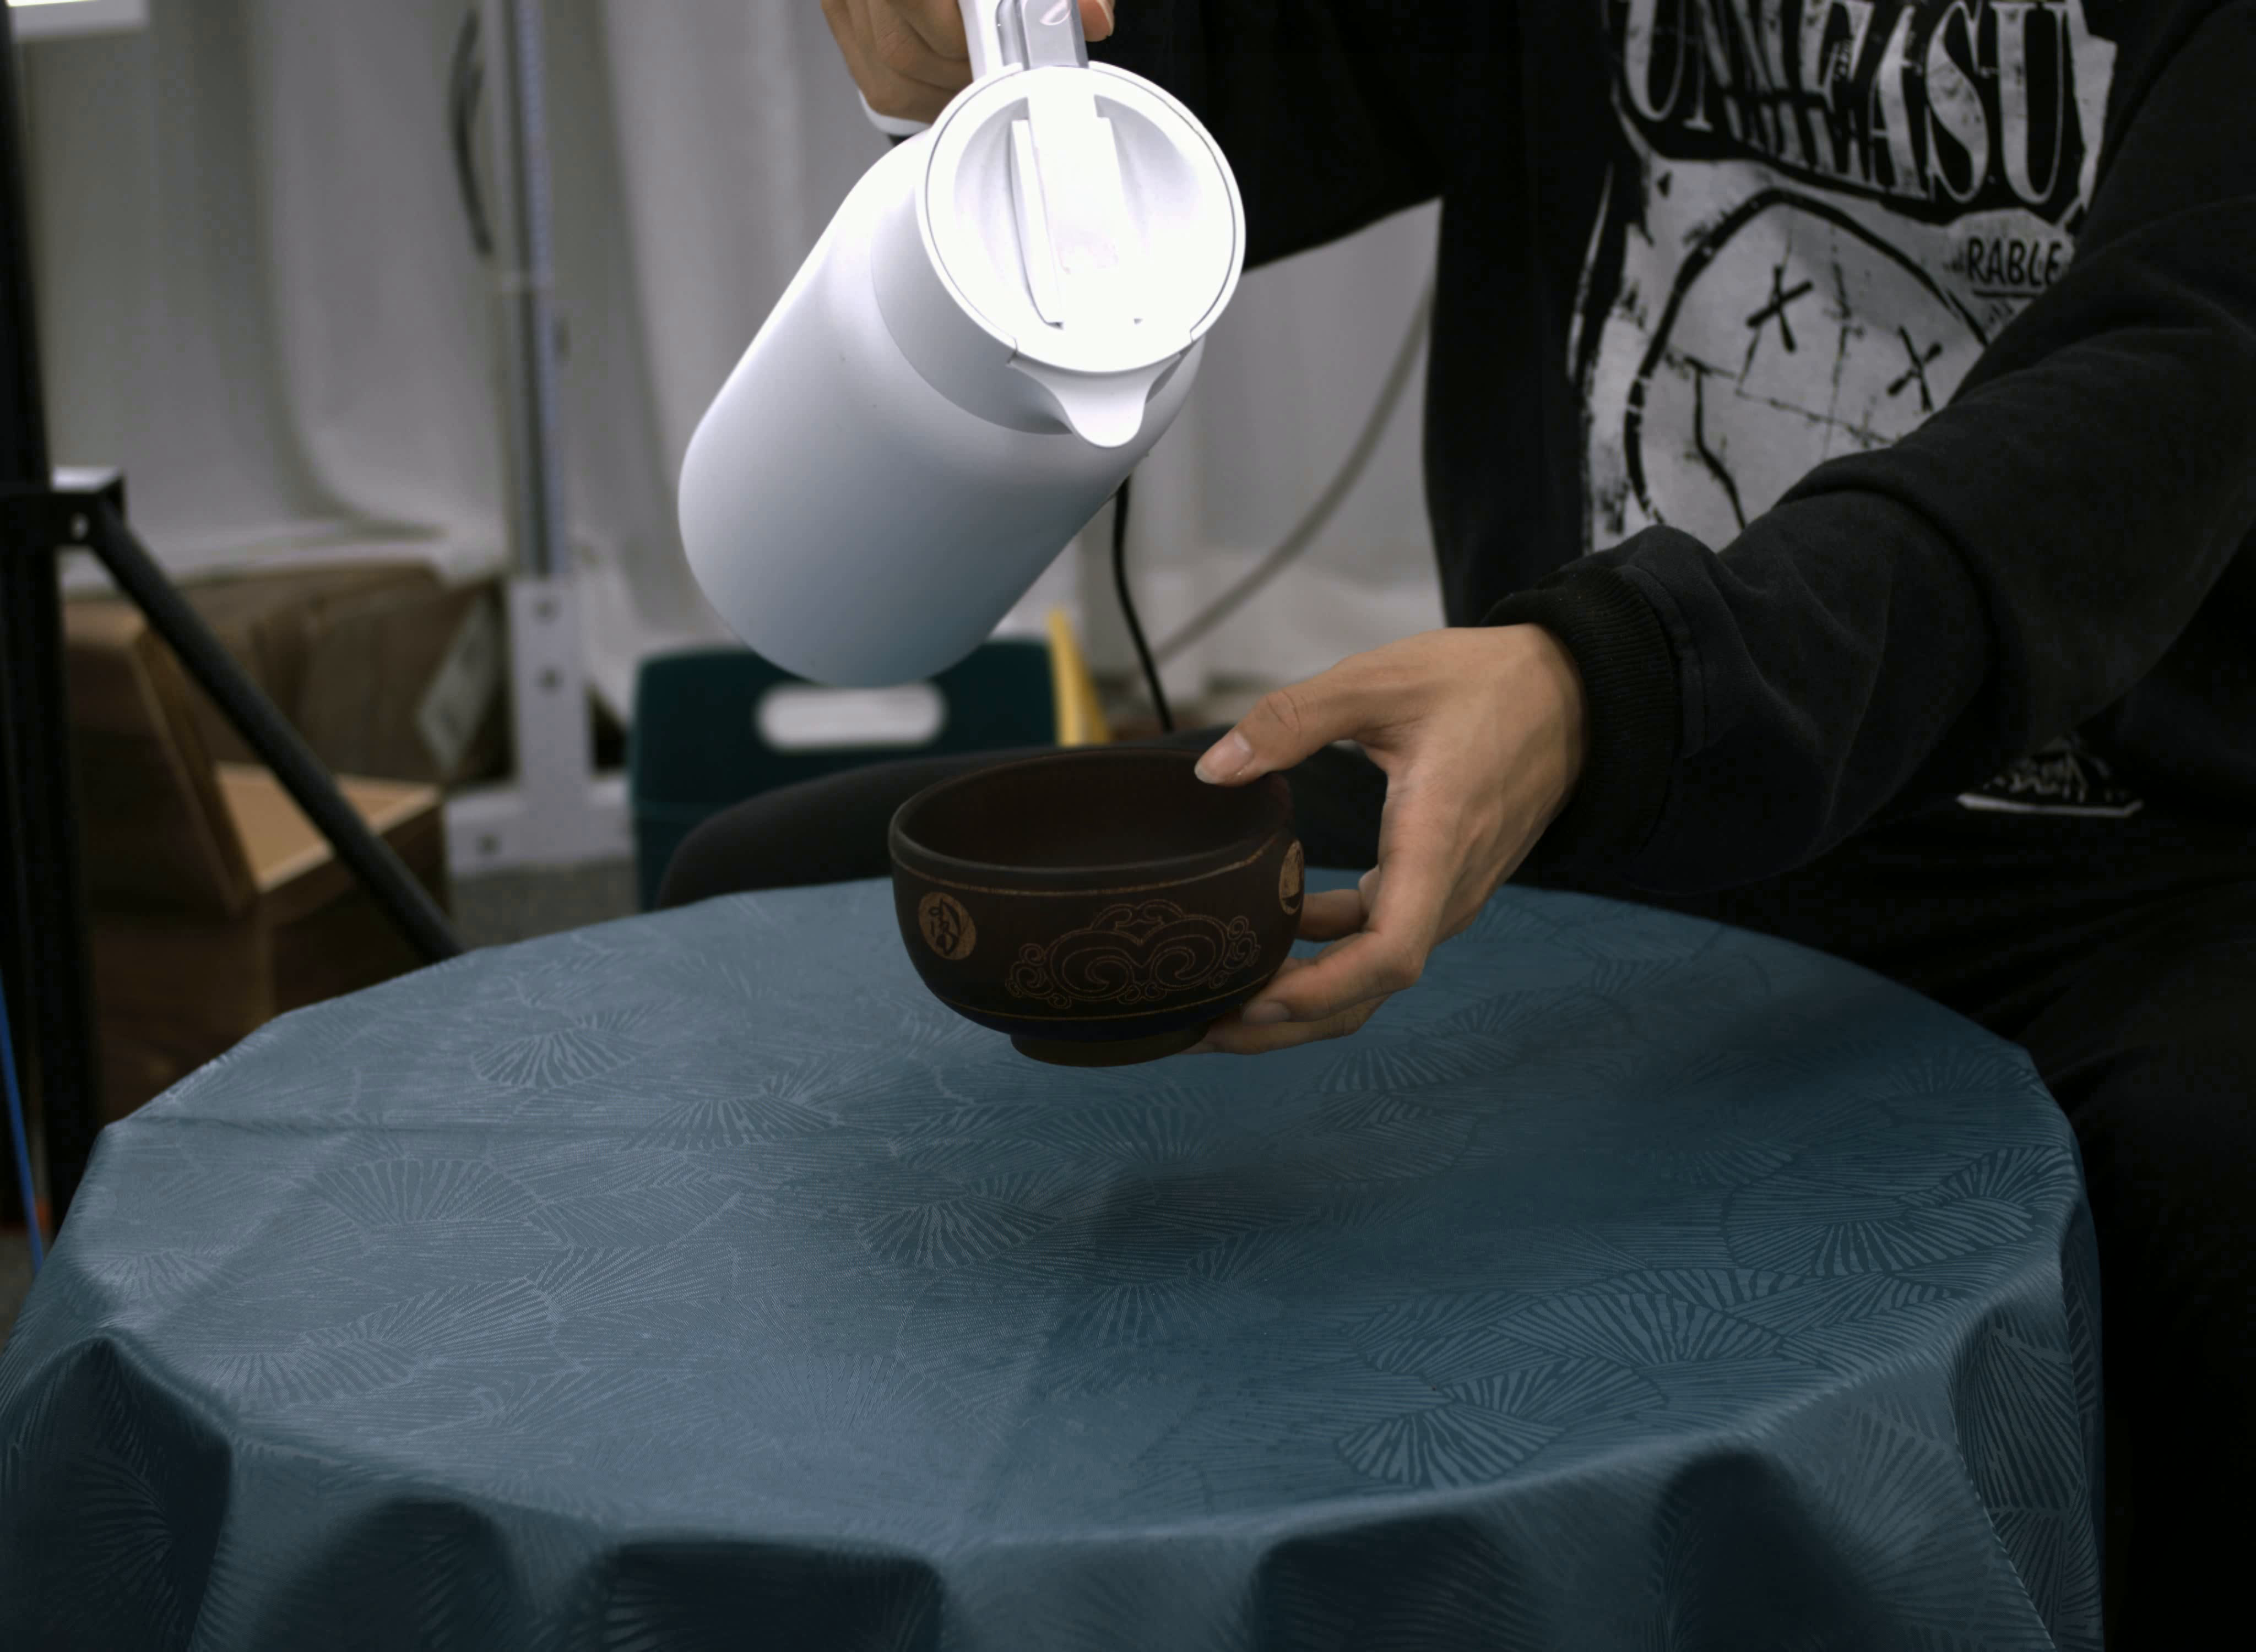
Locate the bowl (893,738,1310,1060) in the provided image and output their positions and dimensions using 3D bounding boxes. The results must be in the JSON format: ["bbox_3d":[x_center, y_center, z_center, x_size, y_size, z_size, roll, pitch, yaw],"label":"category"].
[{"bbox_3d":[-0.006,0.024,1.503,0.117,0.070,0.118,-5,17,0],"label":"bowl"}]

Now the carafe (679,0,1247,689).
[{"bbox_3d":[-0.056,-0.153,1.629,0.122,0.175,0.270,-5,-16,-17],"label":"carafe"}]
